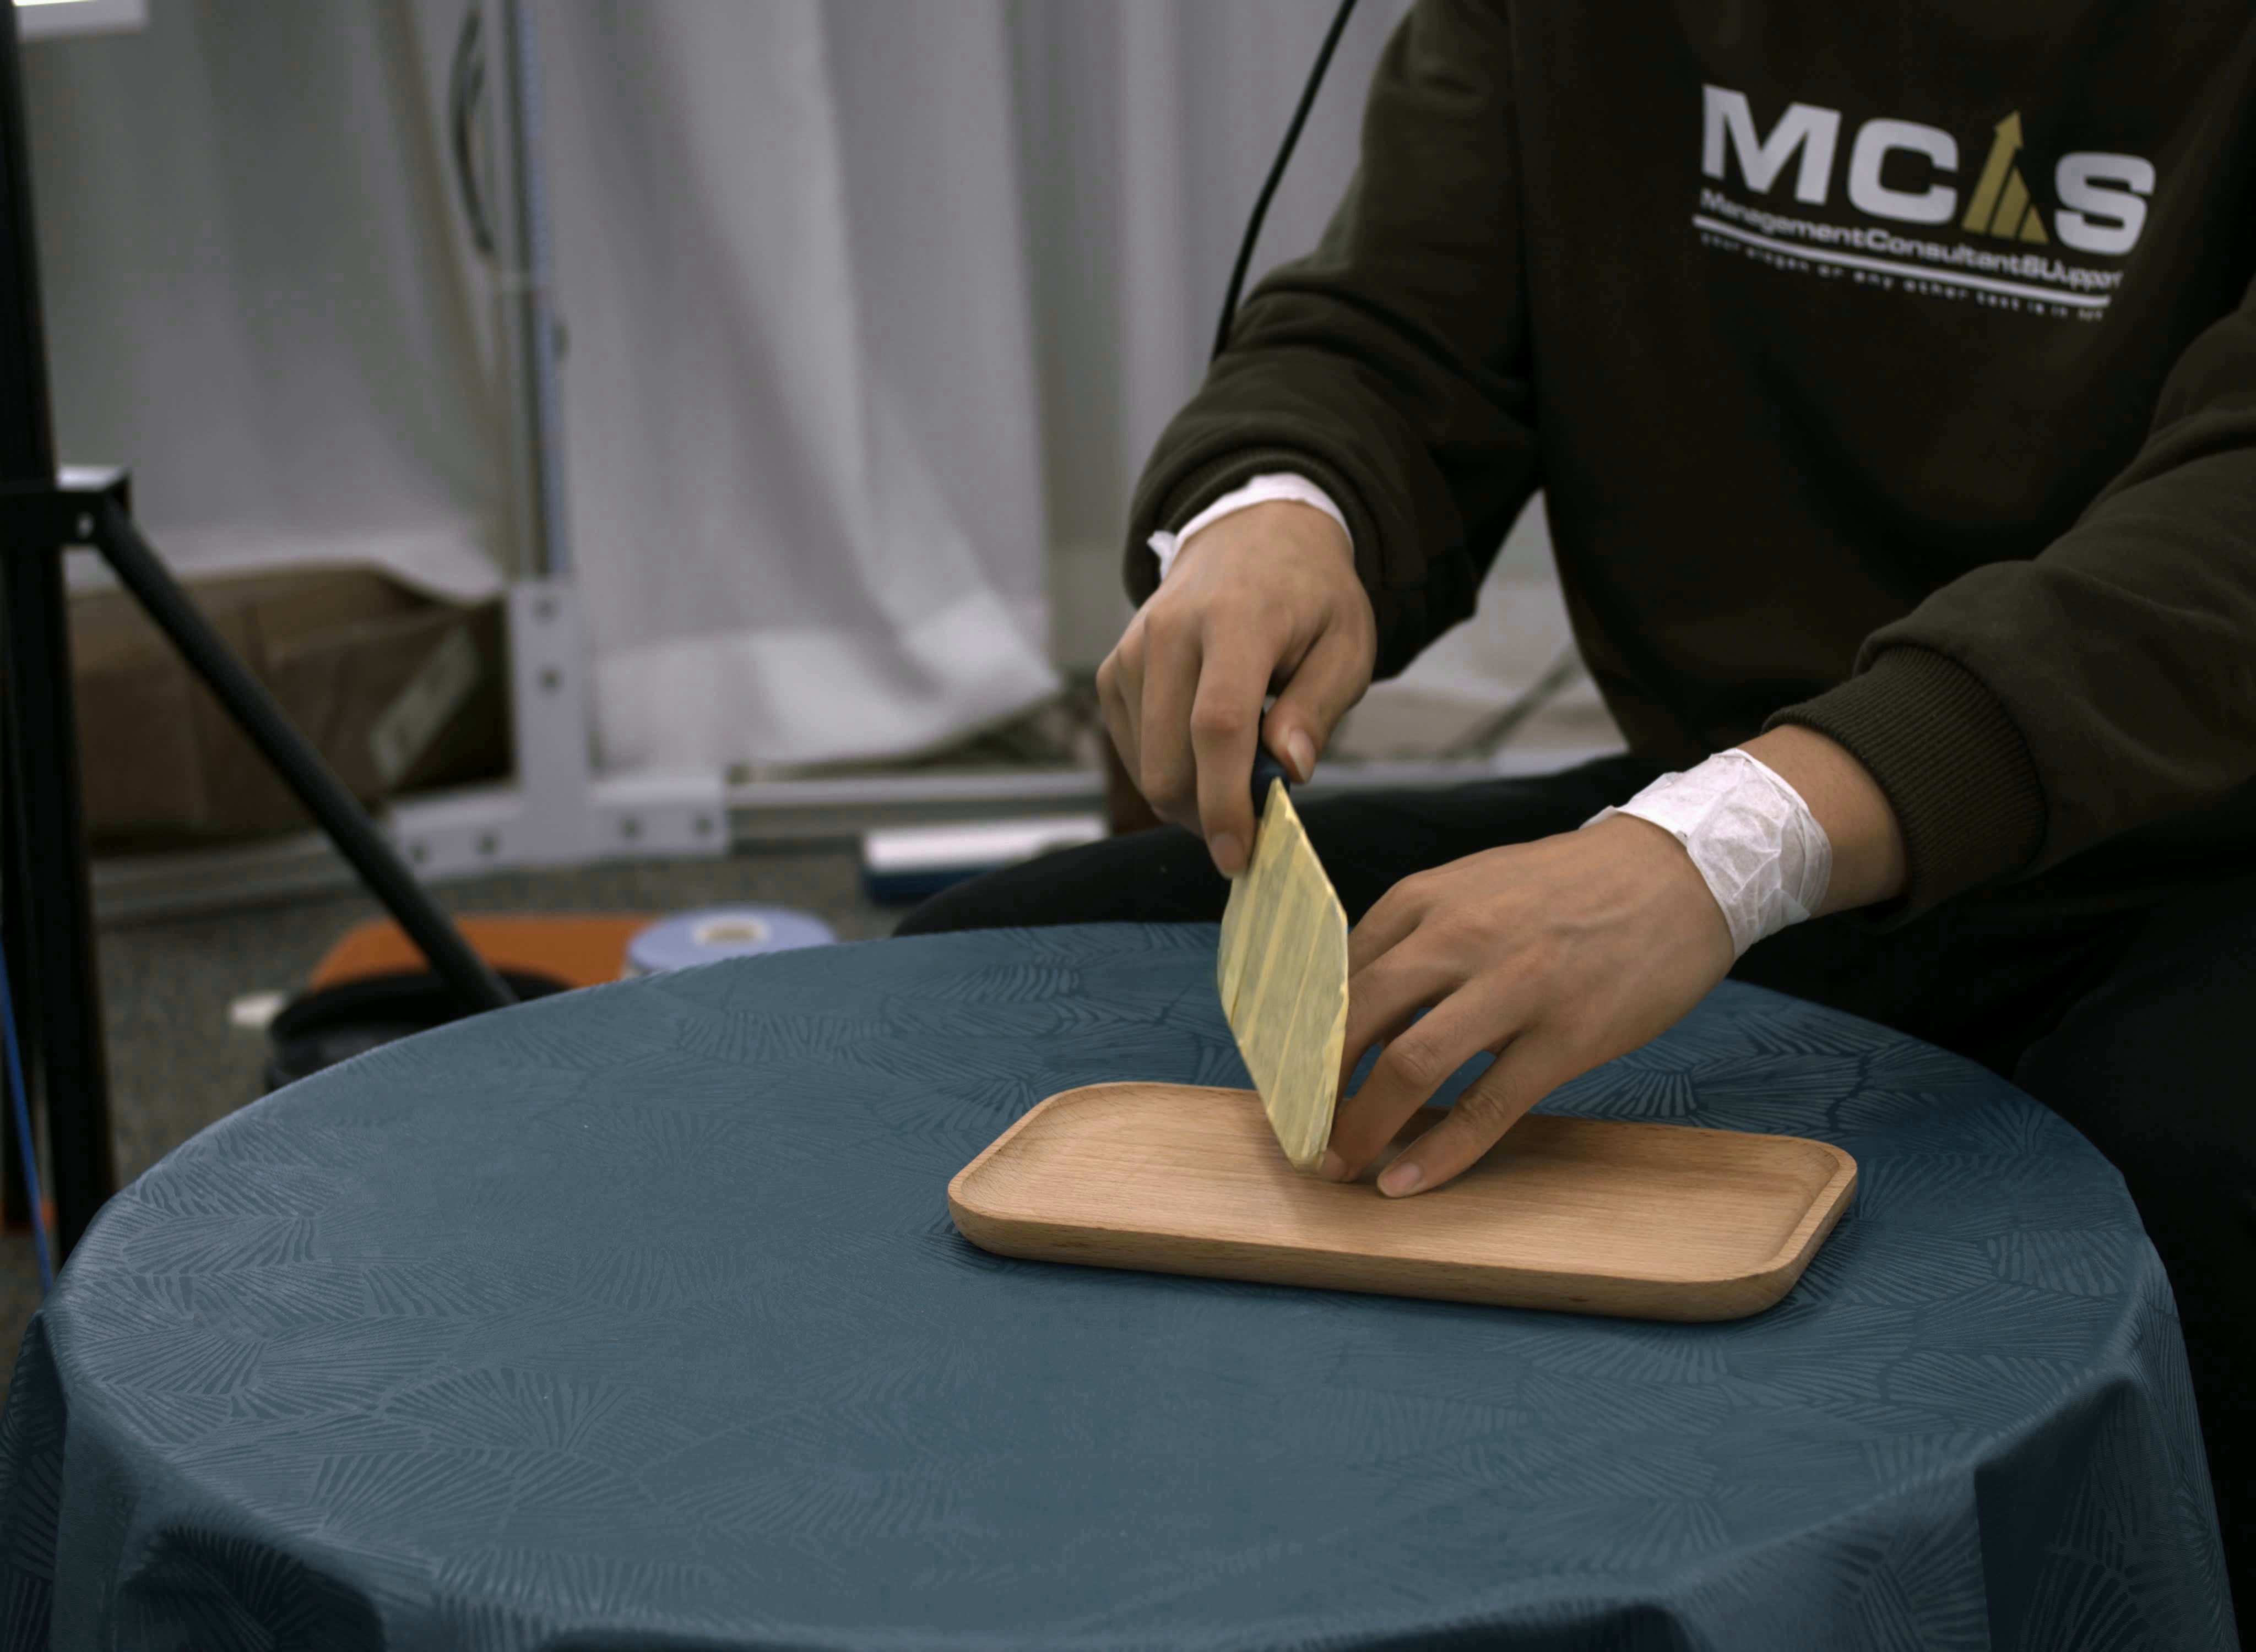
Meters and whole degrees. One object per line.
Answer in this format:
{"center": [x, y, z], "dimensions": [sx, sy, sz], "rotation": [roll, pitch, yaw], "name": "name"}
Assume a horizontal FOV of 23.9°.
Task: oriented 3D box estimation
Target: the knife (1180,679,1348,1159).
{"center": [0.039, 0.023, 1.611], "dimensions": [0.027, 0.081, 0.292], "rotation": [14, 21, -12], "name": "knife"}

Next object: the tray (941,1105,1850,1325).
{"center": [0.077, 0.111, 1.522], "dimensions": [0.254, 0.023, 0.129], "rotation": [1, 13, 22], "name": "tray"}
